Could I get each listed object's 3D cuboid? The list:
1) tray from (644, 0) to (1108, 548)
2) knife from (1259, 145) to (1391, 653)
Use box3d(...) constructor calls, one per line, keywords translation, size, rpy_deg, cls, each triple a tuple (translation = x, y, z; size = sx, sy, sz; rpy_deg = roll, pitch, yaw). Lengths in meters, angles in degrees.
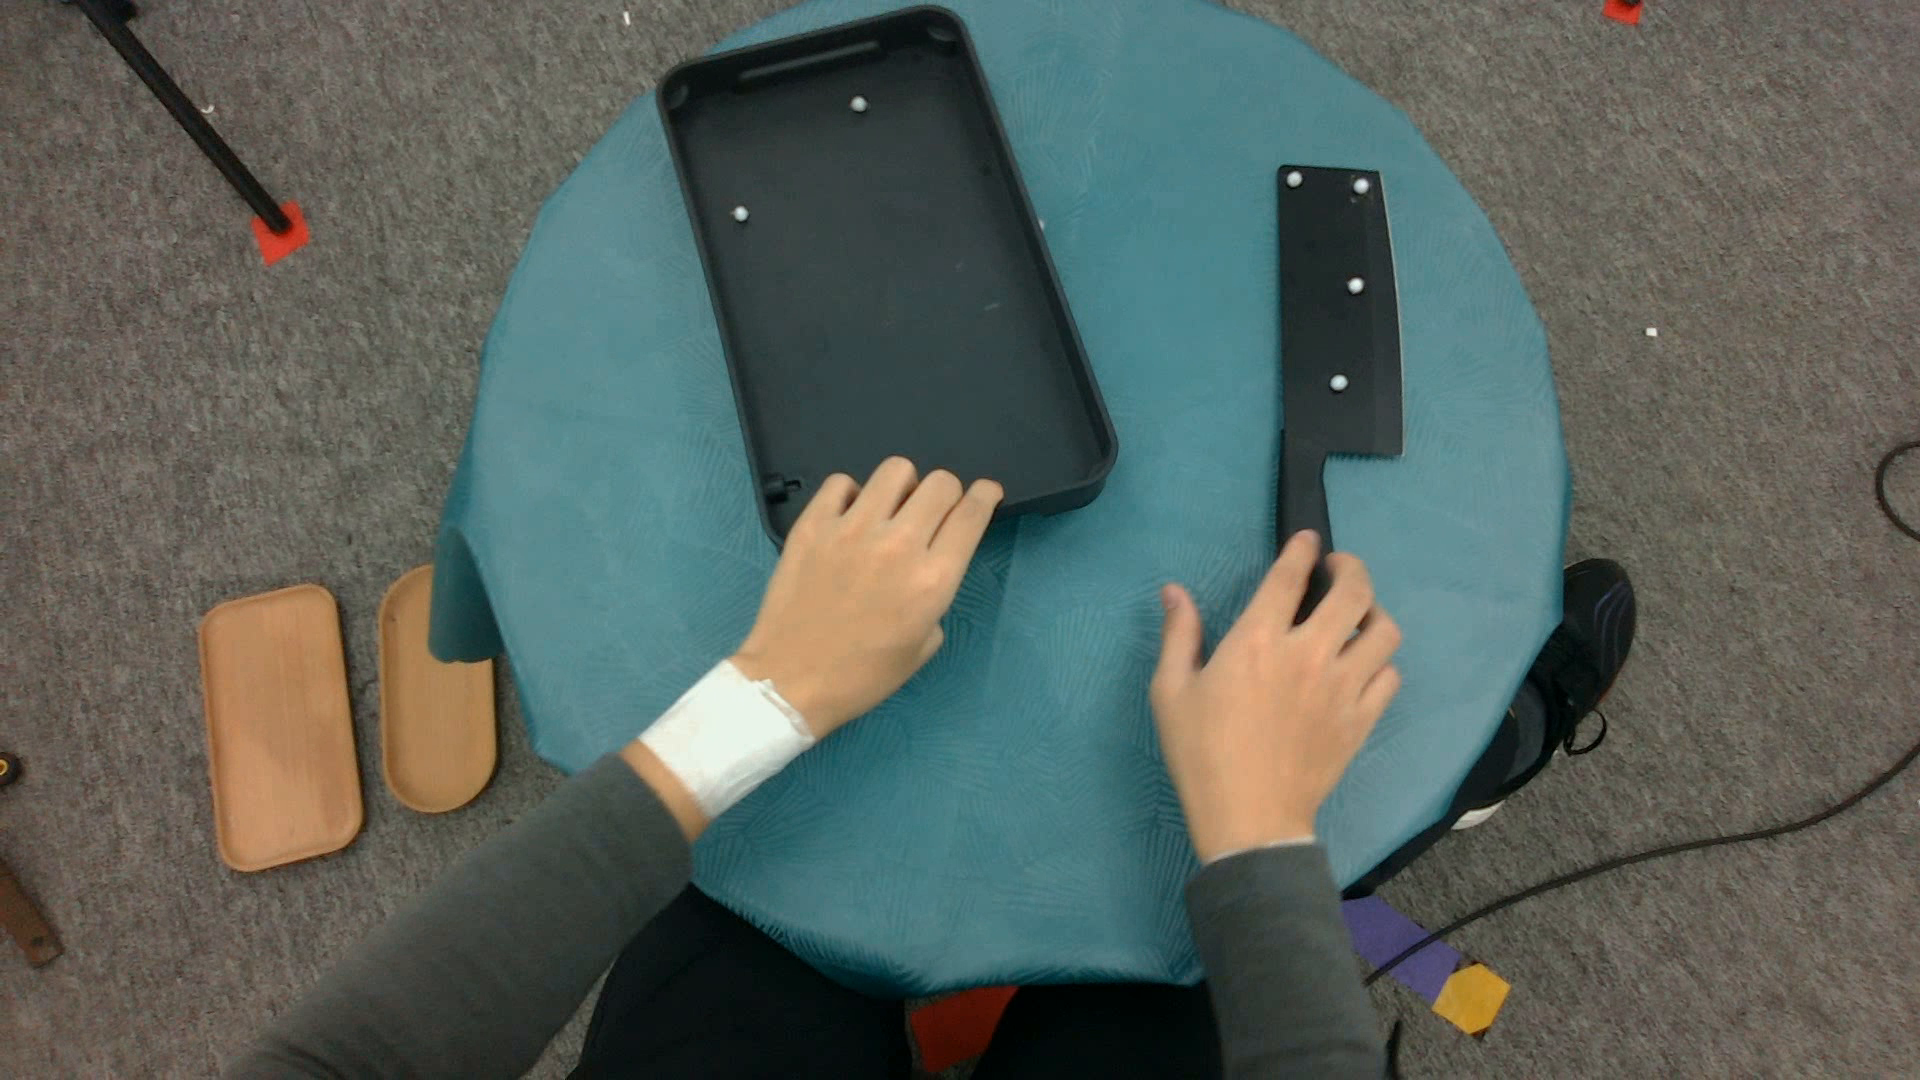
box3d(translation=(-0.053, -0.155, 0.740), size=(0.184, 0.037, 0.319), rpy_deg=(-15, 64, -6), cls="tray")
box3d(translation=(0.199, -0.087, 0.759), size=(0.081, 0.021, 0.303), rpy_deg=(9, 72, -4), cls="knife")
